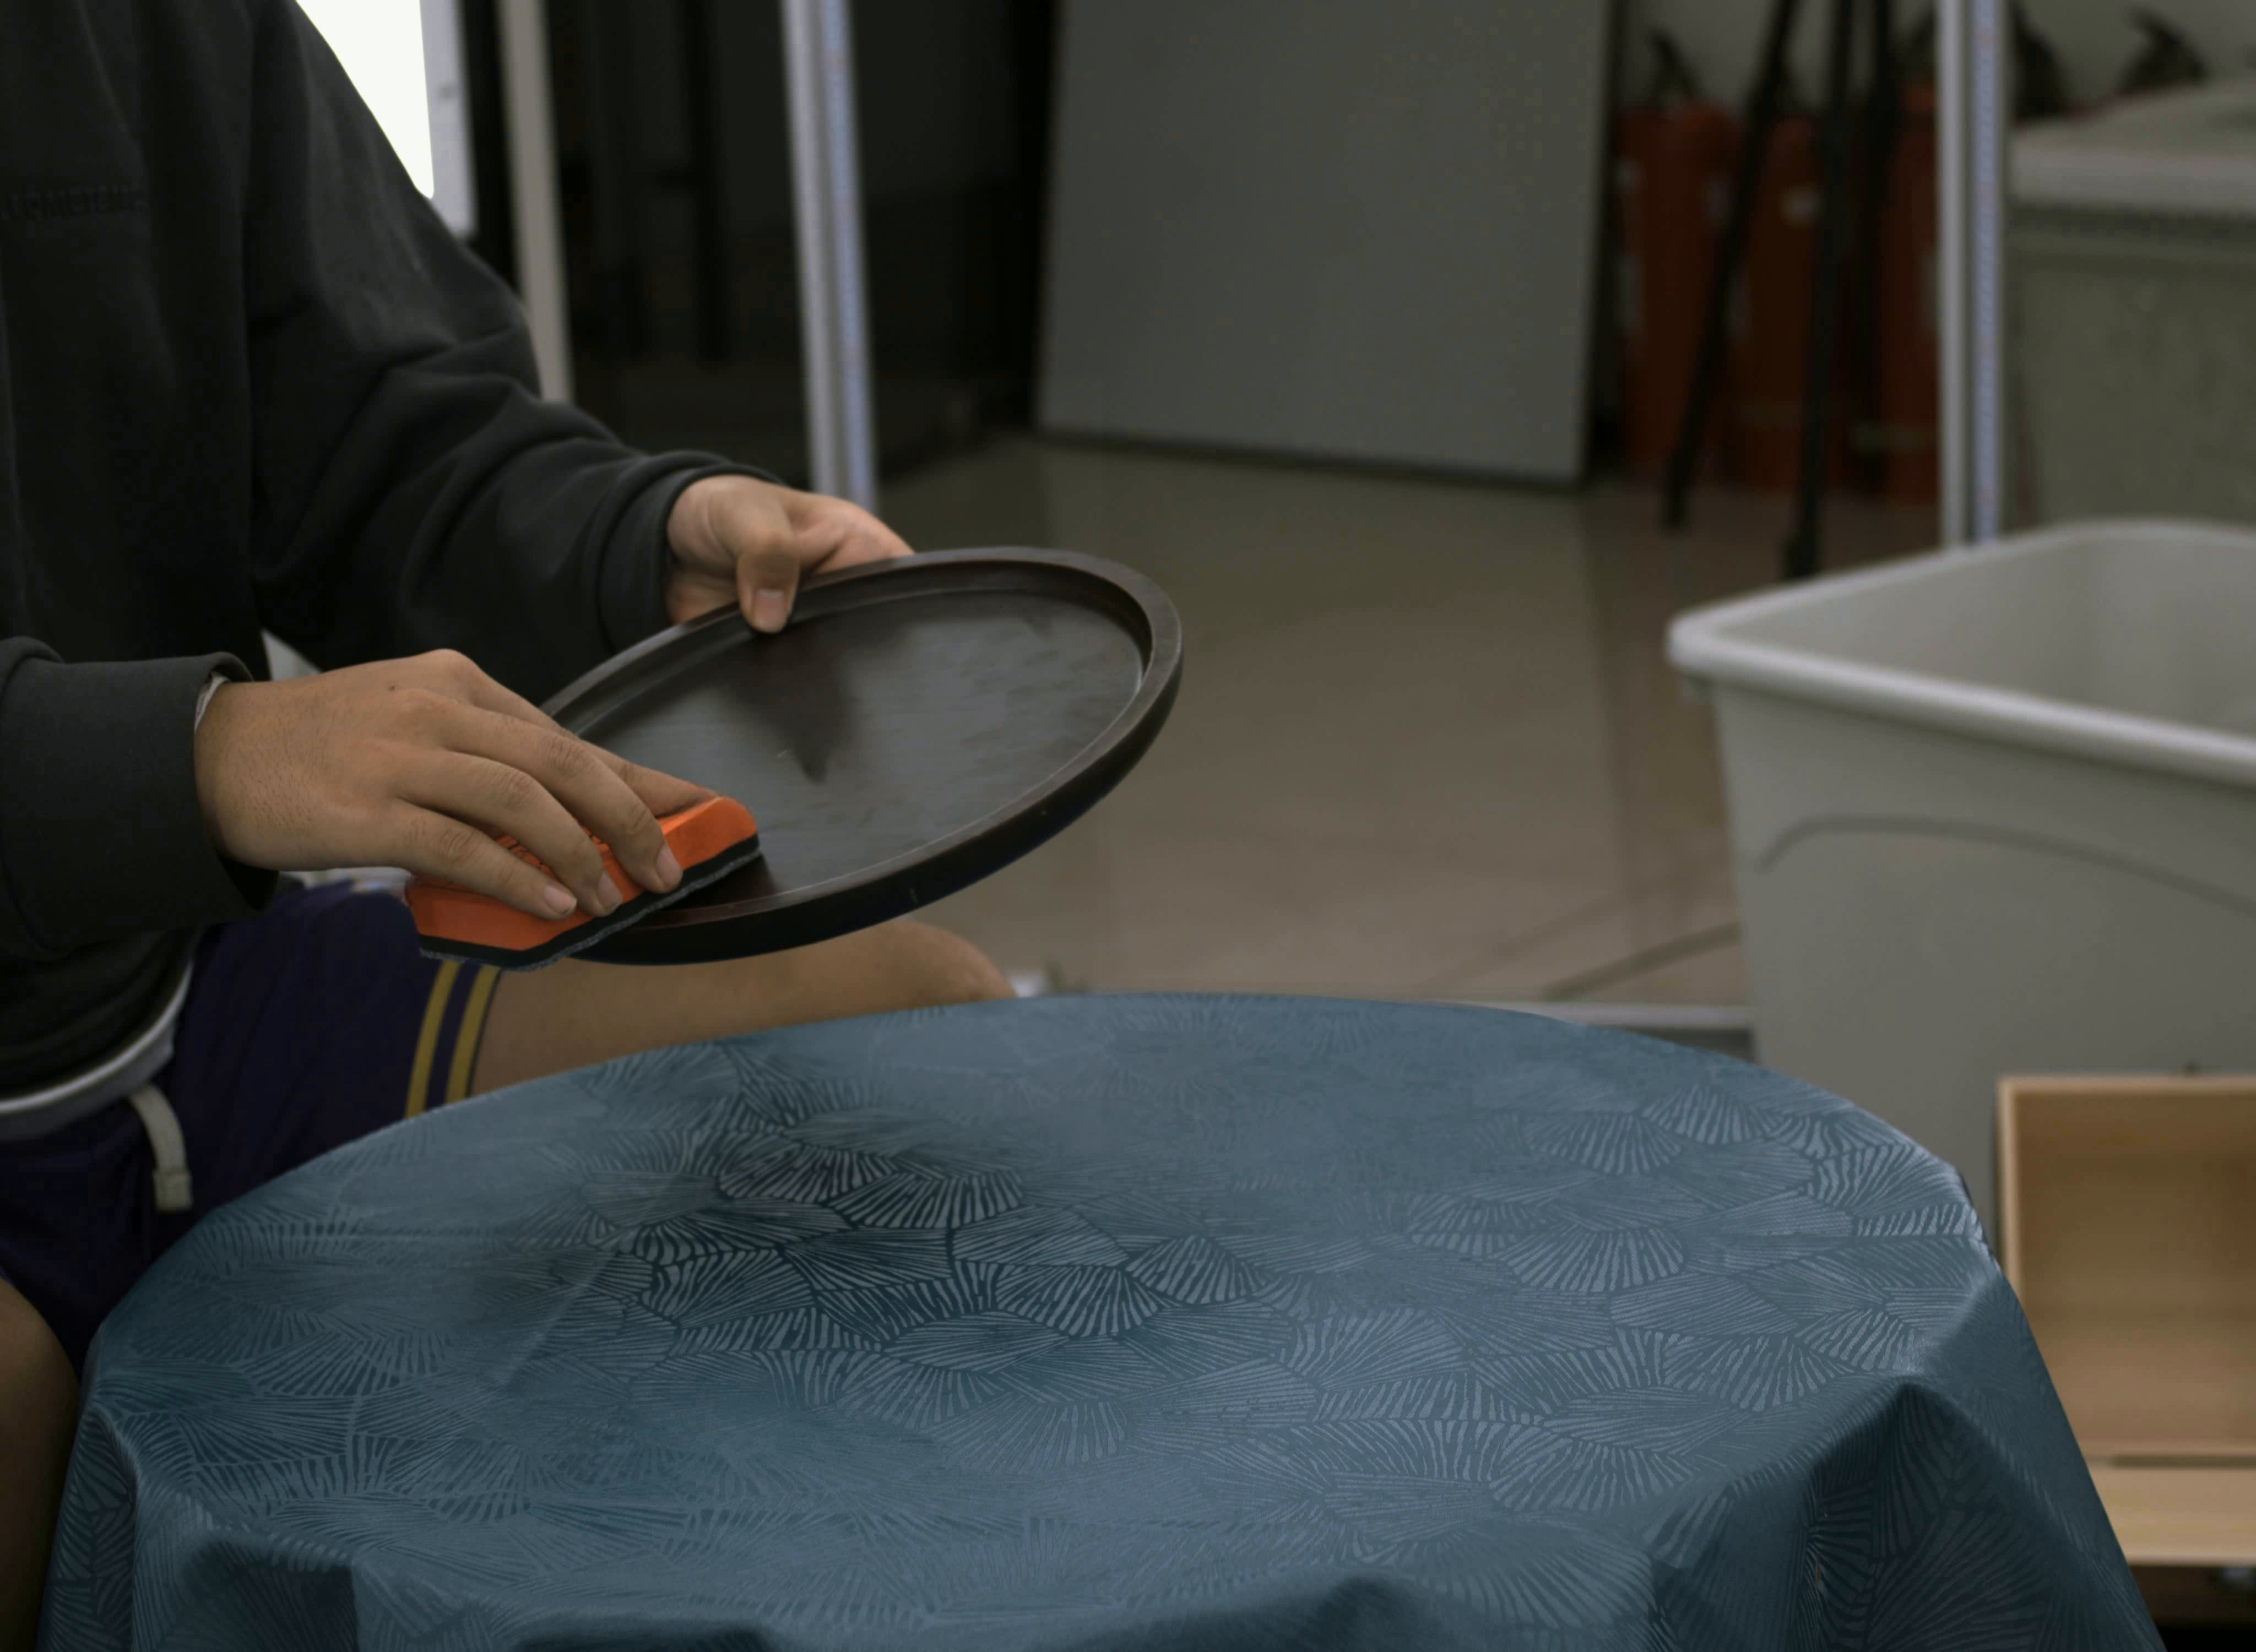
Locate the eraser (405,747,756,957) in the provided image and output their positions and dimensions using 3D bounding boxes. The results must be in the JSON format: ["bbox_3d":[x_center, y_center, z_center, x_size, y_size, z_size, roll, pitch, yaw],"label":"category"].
[{"bbox_3d":[-0.170,0.007,1.688,0.059,0.023,0.106,11,29,41],"label":"eraser"}]

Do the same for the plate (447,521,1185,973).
[{"bbox_3d":[-0.100,-0.024,1.762,0.253,0.029,0.256,-17,26,7],"label":"plate"}]
